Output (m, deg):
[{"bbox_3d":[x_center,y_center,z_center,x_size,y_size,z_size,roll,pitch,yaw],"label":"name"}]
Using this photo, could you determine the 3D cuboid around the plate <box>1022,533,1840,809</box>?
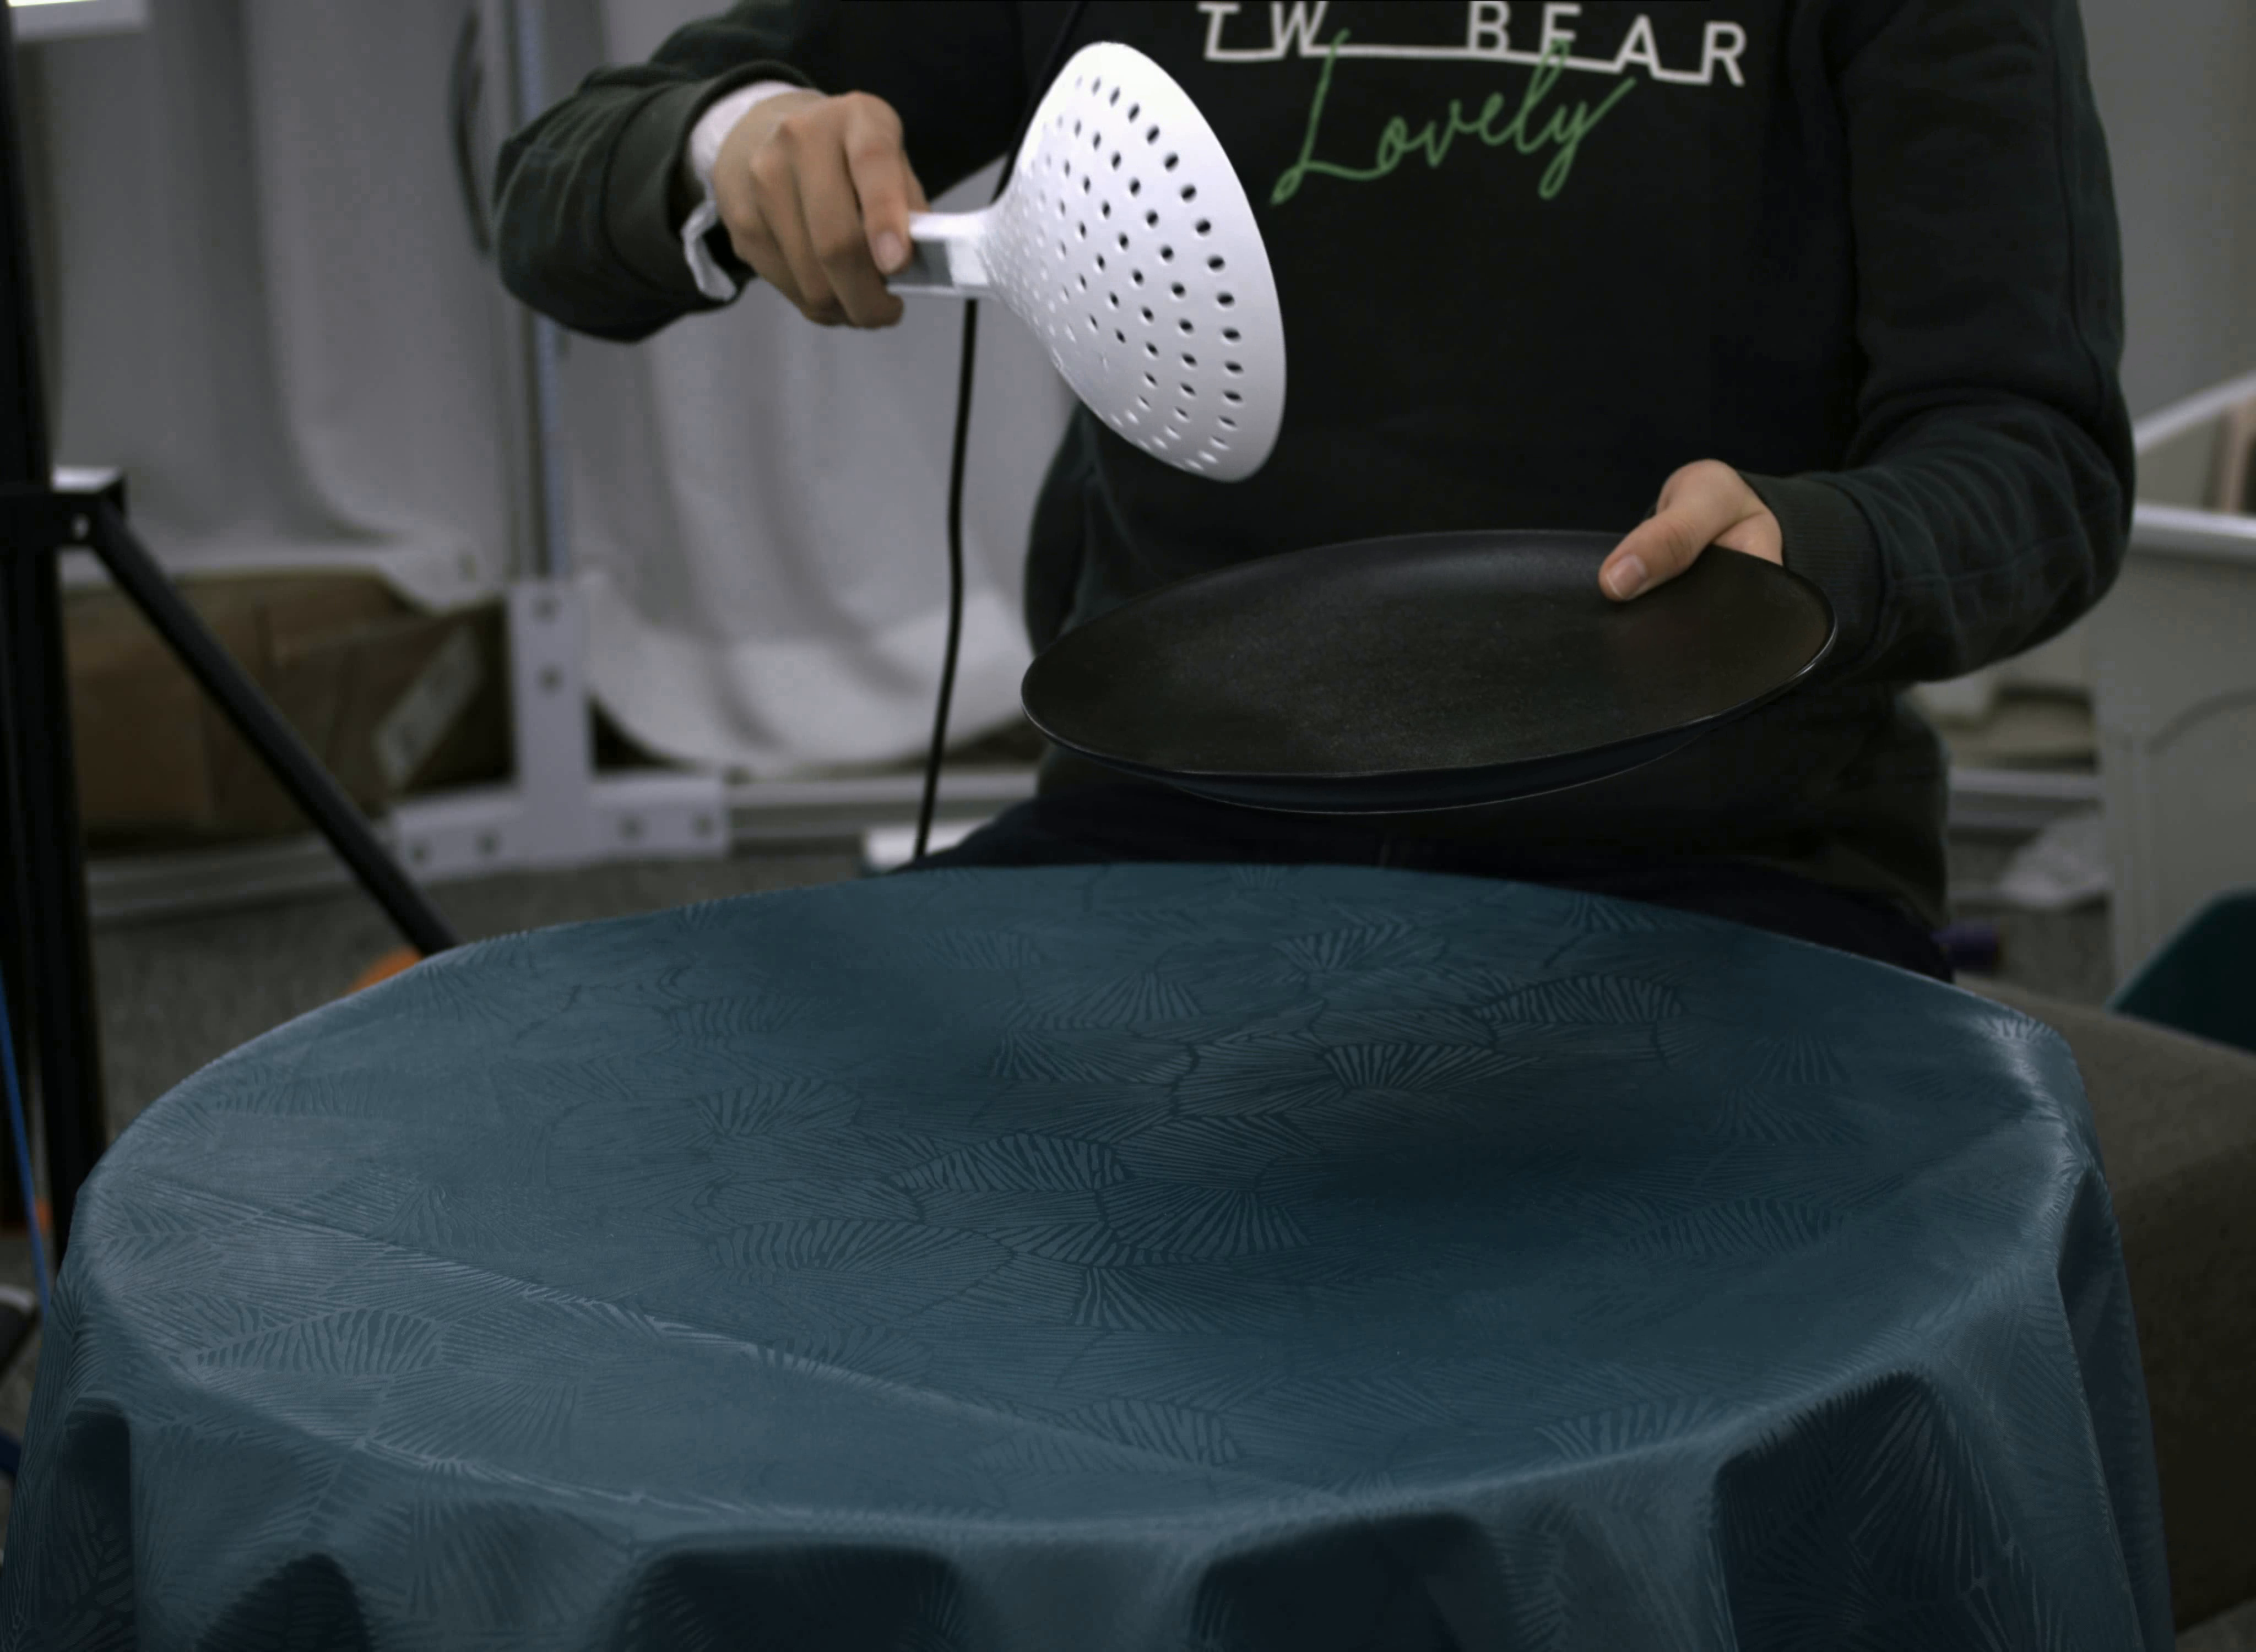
[{"bbox_3d":[0.090,-0.044,1.579,0.243,0.023,0.246,-7,18,1],"label":"plate"}]

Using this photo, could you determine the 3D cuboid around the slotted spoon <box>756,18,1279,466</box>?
[{"bbox_3d":[-0.044,-0.183,1.693,0.045,0.136,0.355,-17,13,-19],"label":"slotted spoon"}]
